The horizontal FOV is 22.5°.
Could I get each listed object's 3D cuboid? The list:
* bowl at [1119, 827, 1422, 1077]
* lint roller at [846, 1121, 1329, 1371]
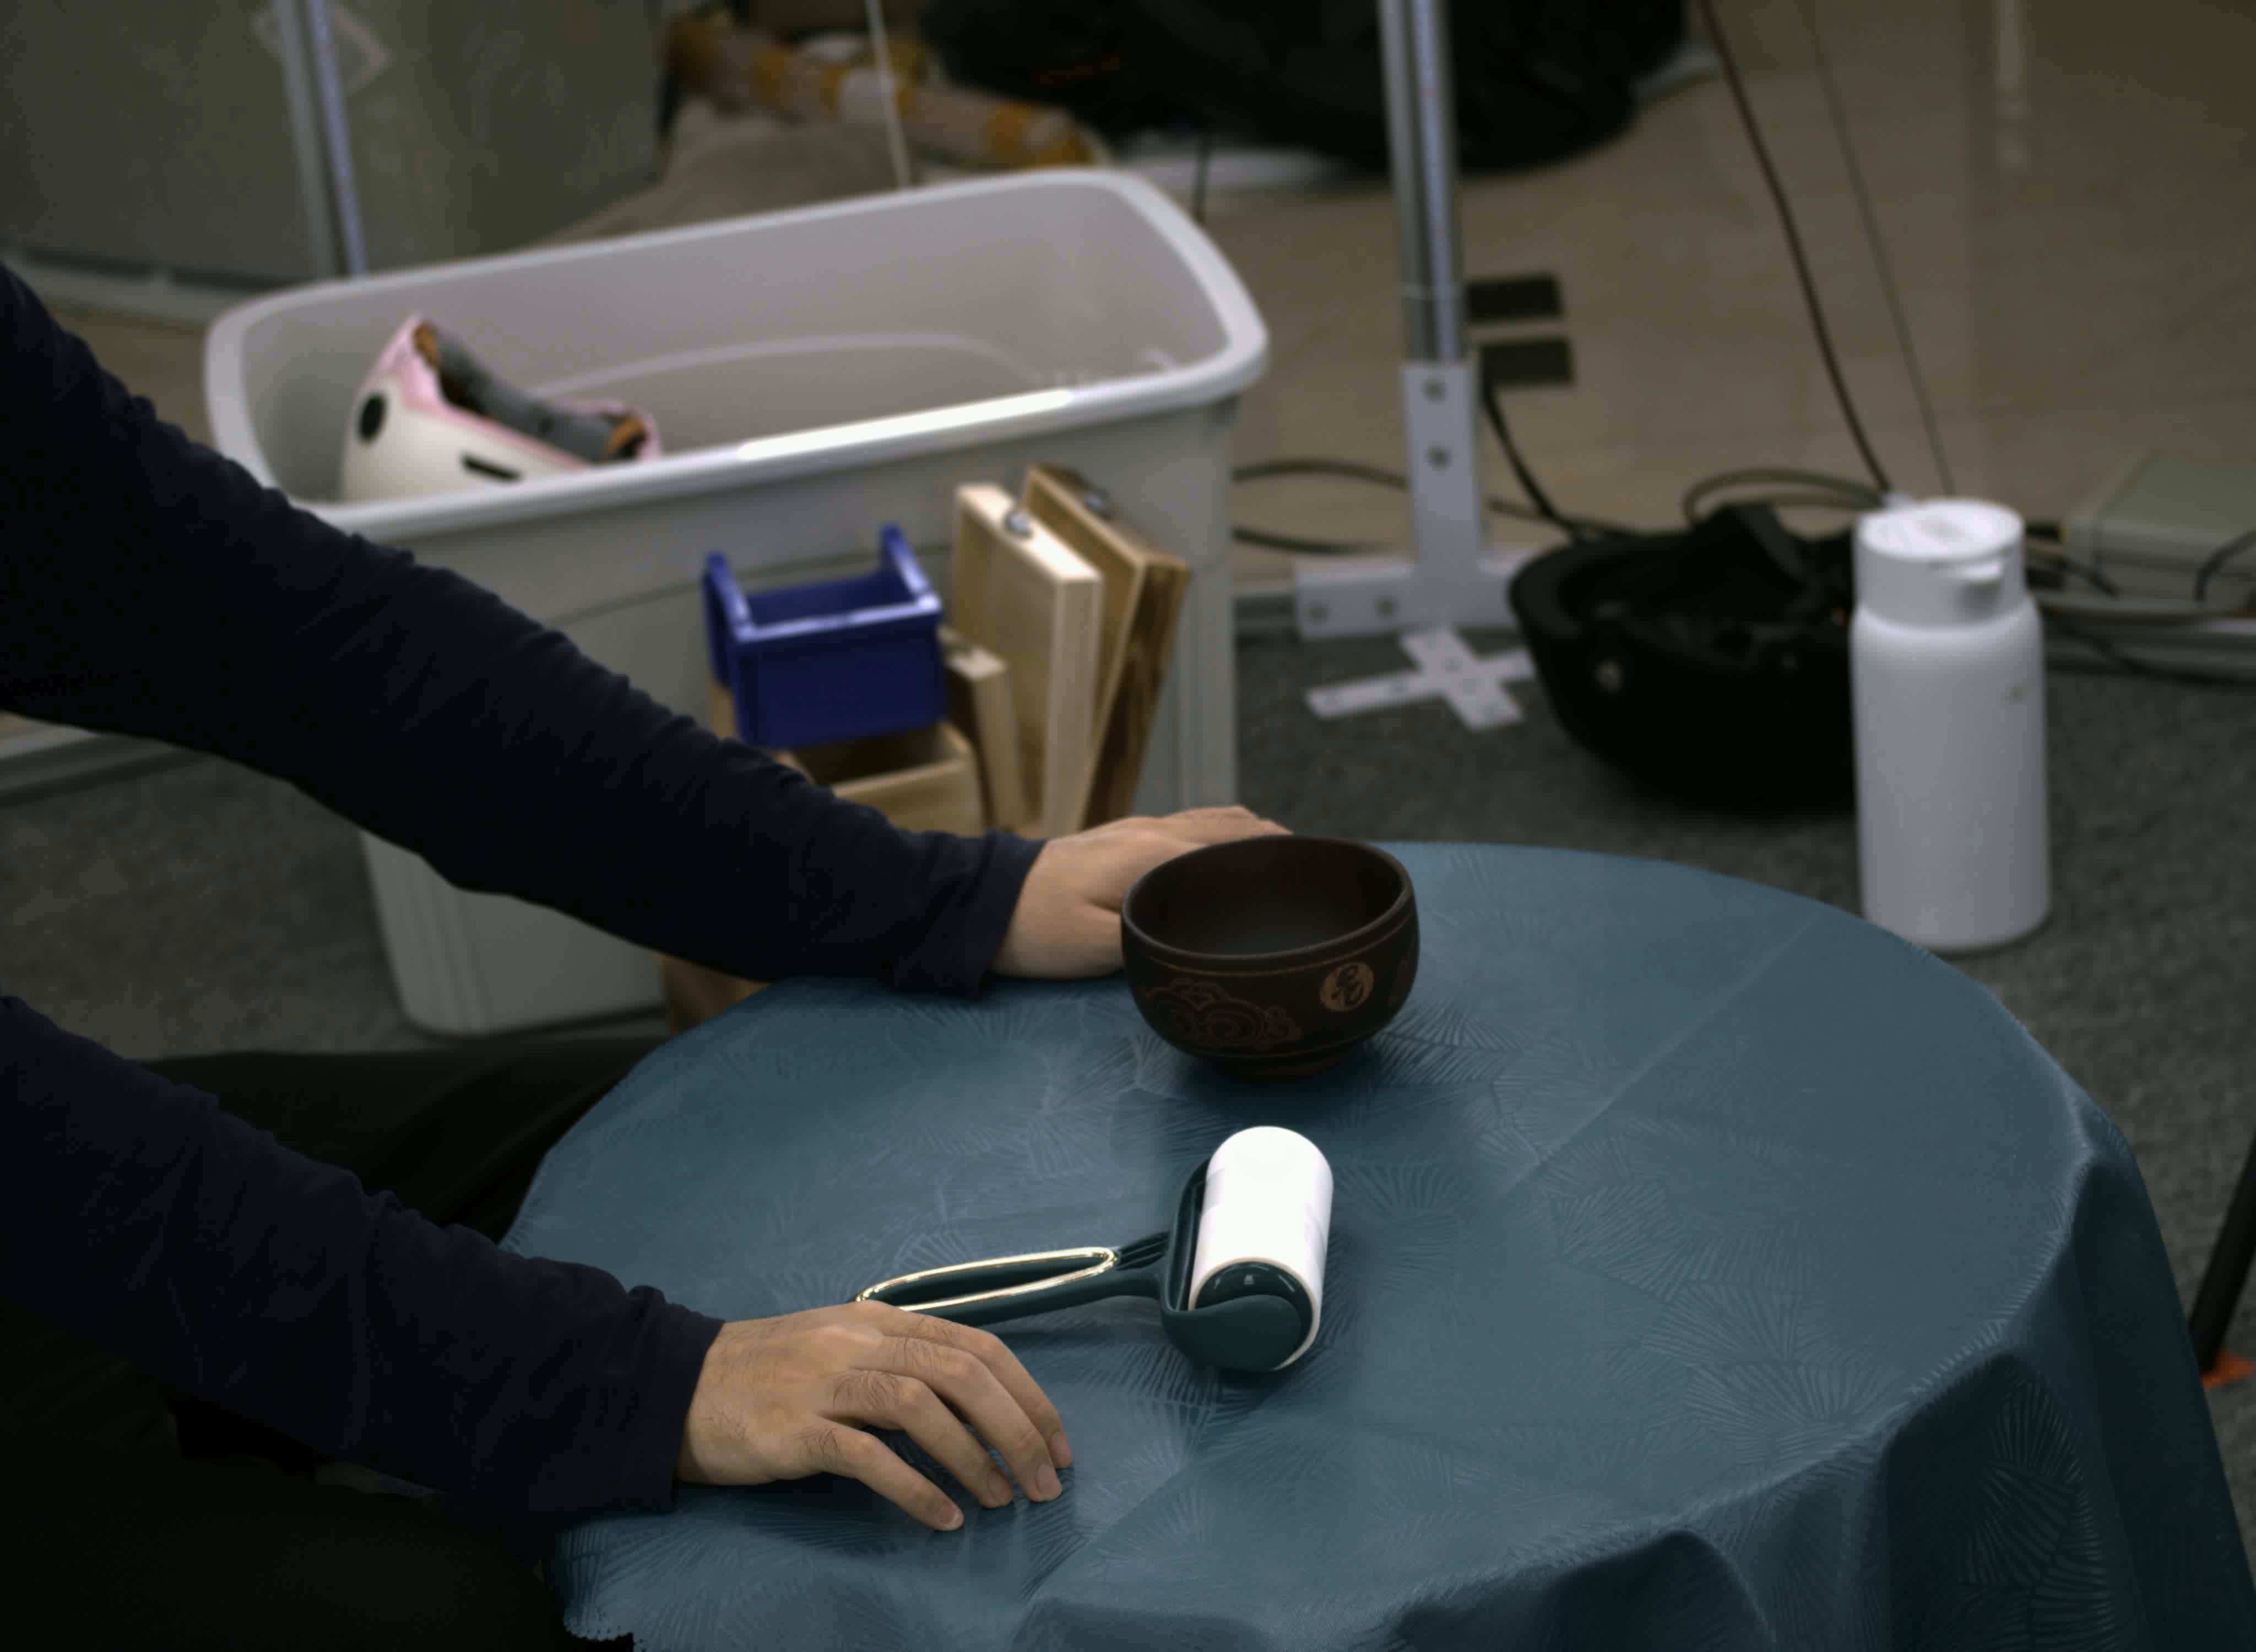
[{"bbox_3d":[0.058,0.055,2.230,0.118,0.071,0.116,-7,26,4],"label":"bowl"},{"bbox_3d":[-0.018,0.160,2.062,0.180,0.049,0.132,-6,25,7],"label":"lint roller"}]
